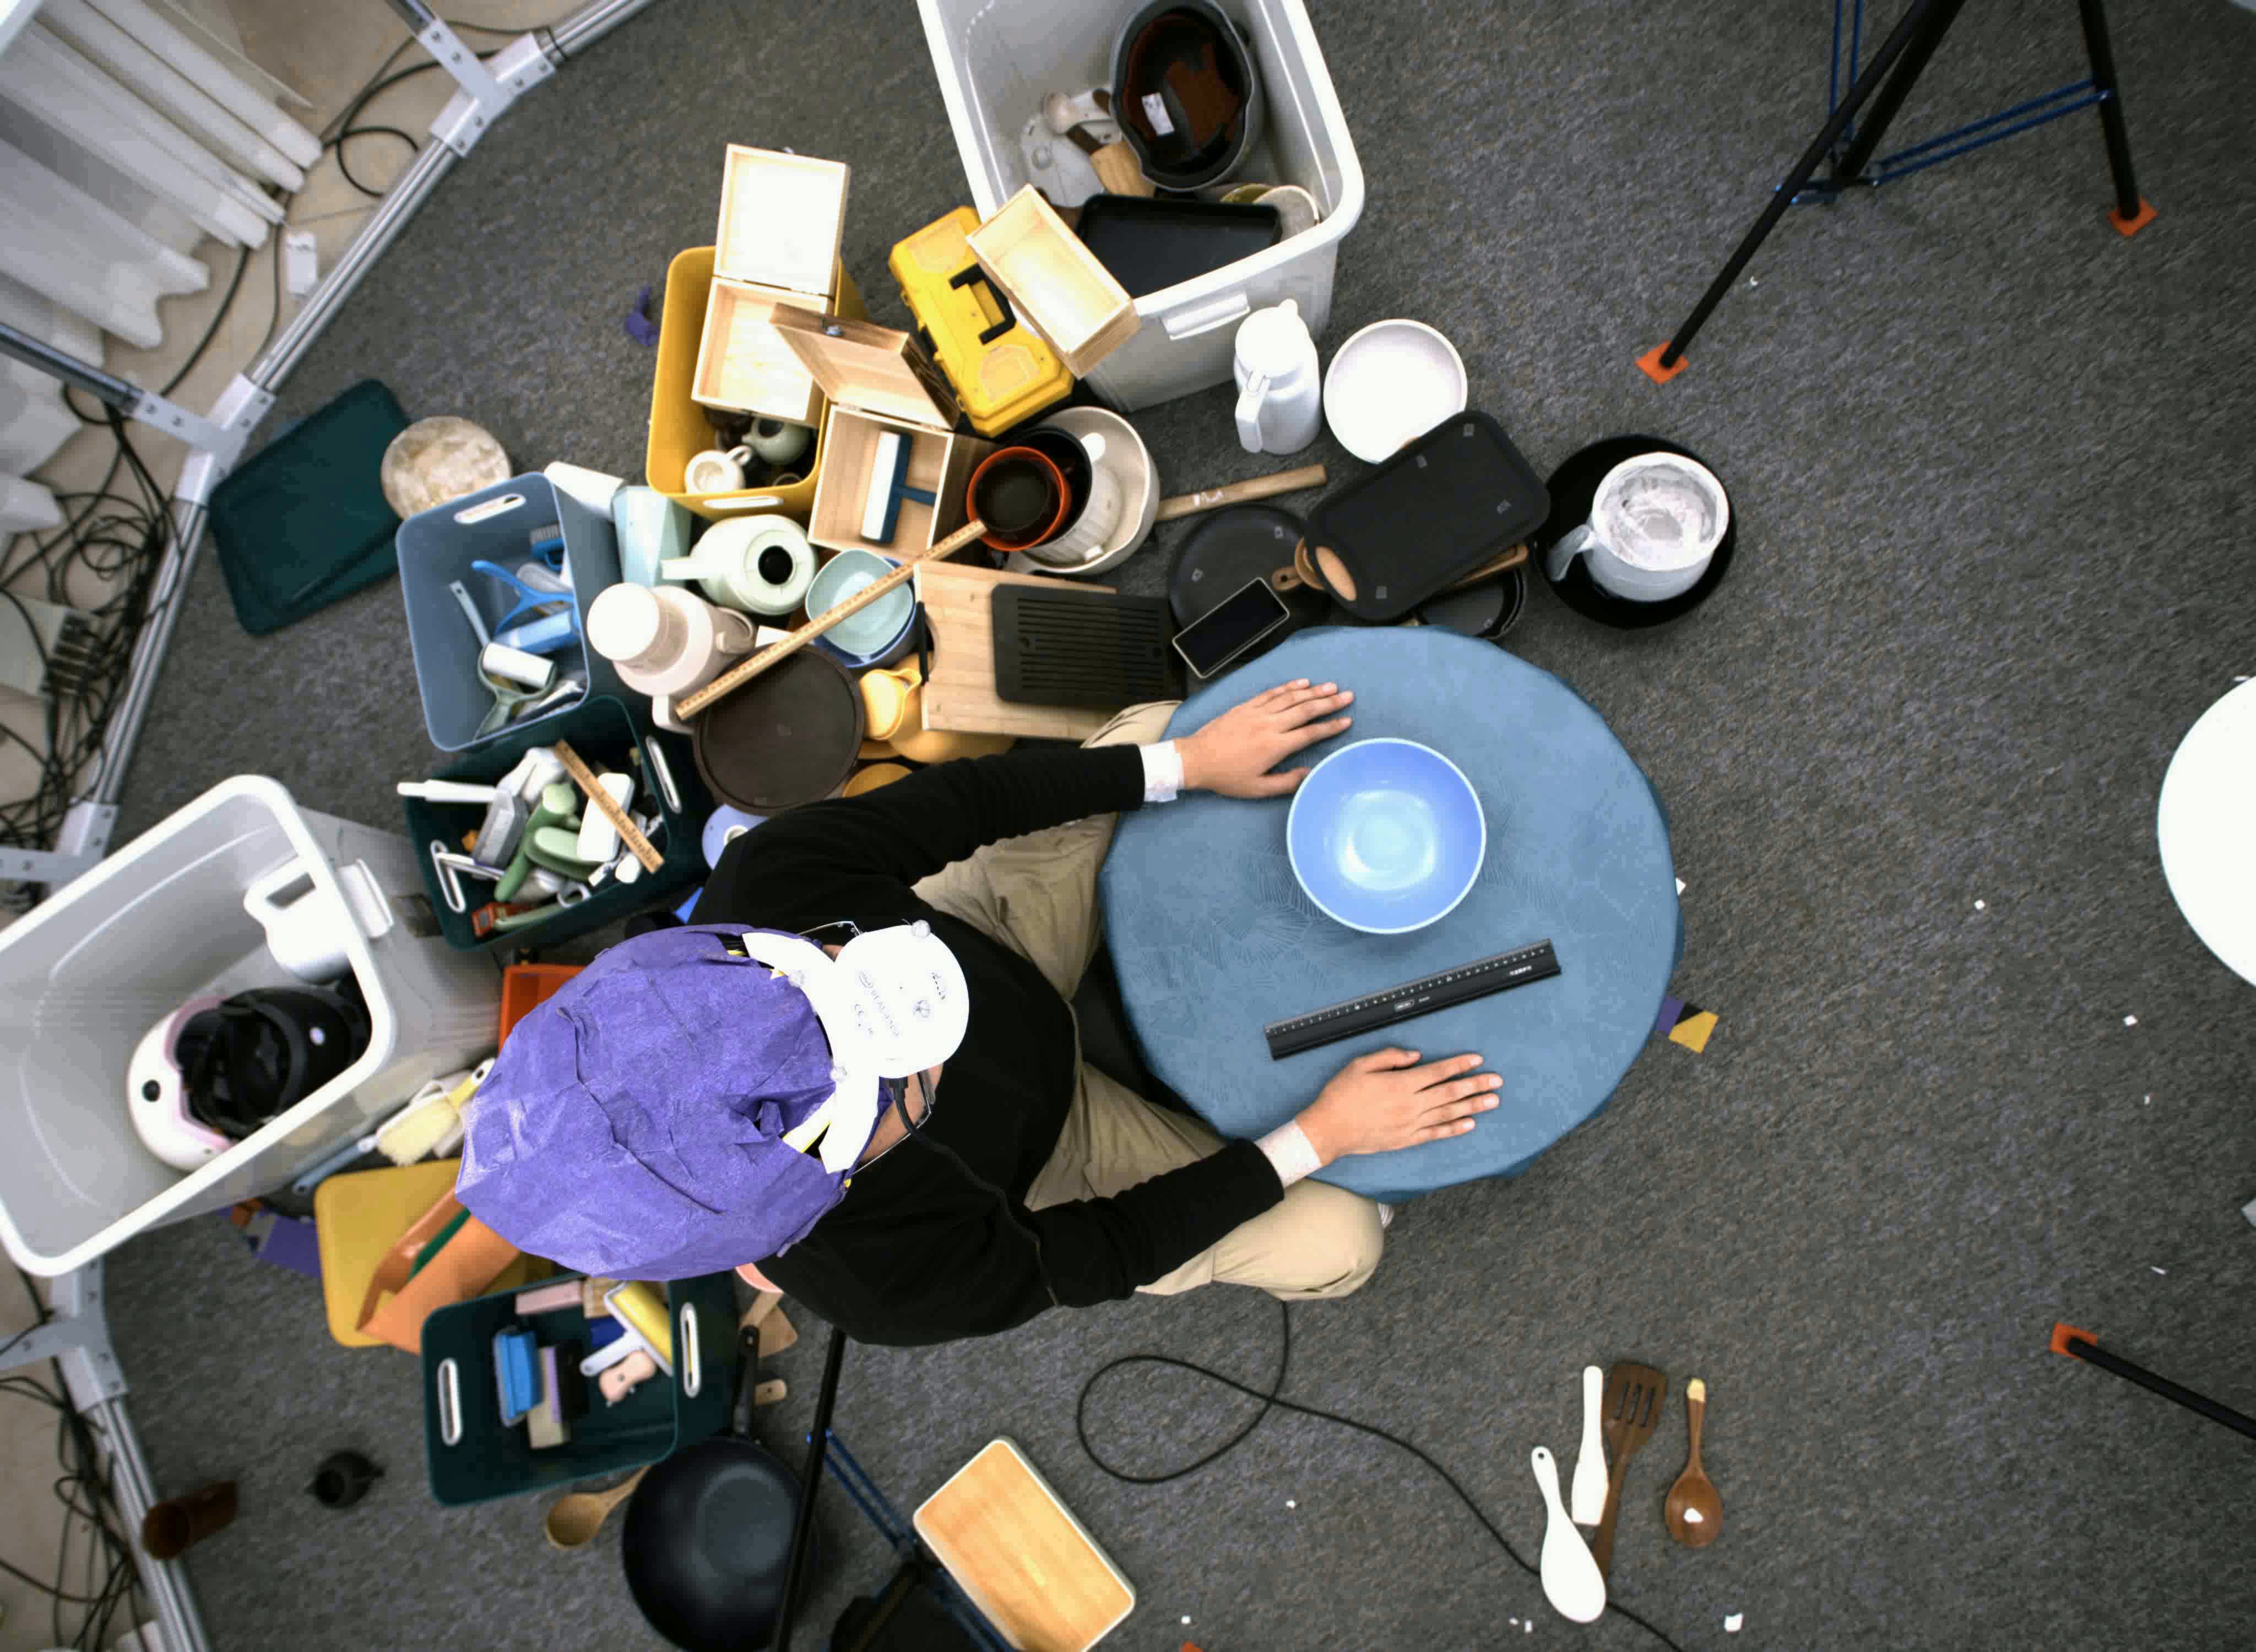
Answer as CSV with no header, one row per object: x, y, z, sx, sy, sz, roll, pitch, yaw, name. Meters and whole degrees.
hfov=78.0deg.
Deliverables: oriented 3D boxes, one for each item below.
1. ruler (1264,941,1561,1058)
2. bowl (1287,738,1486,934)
0.295,0.179,1.442,0.314,0.017,0.039,-18,79,9,ruler
0.264,0.013,1.416,0.197,0.095,0.195,-1,86,10,bowl
